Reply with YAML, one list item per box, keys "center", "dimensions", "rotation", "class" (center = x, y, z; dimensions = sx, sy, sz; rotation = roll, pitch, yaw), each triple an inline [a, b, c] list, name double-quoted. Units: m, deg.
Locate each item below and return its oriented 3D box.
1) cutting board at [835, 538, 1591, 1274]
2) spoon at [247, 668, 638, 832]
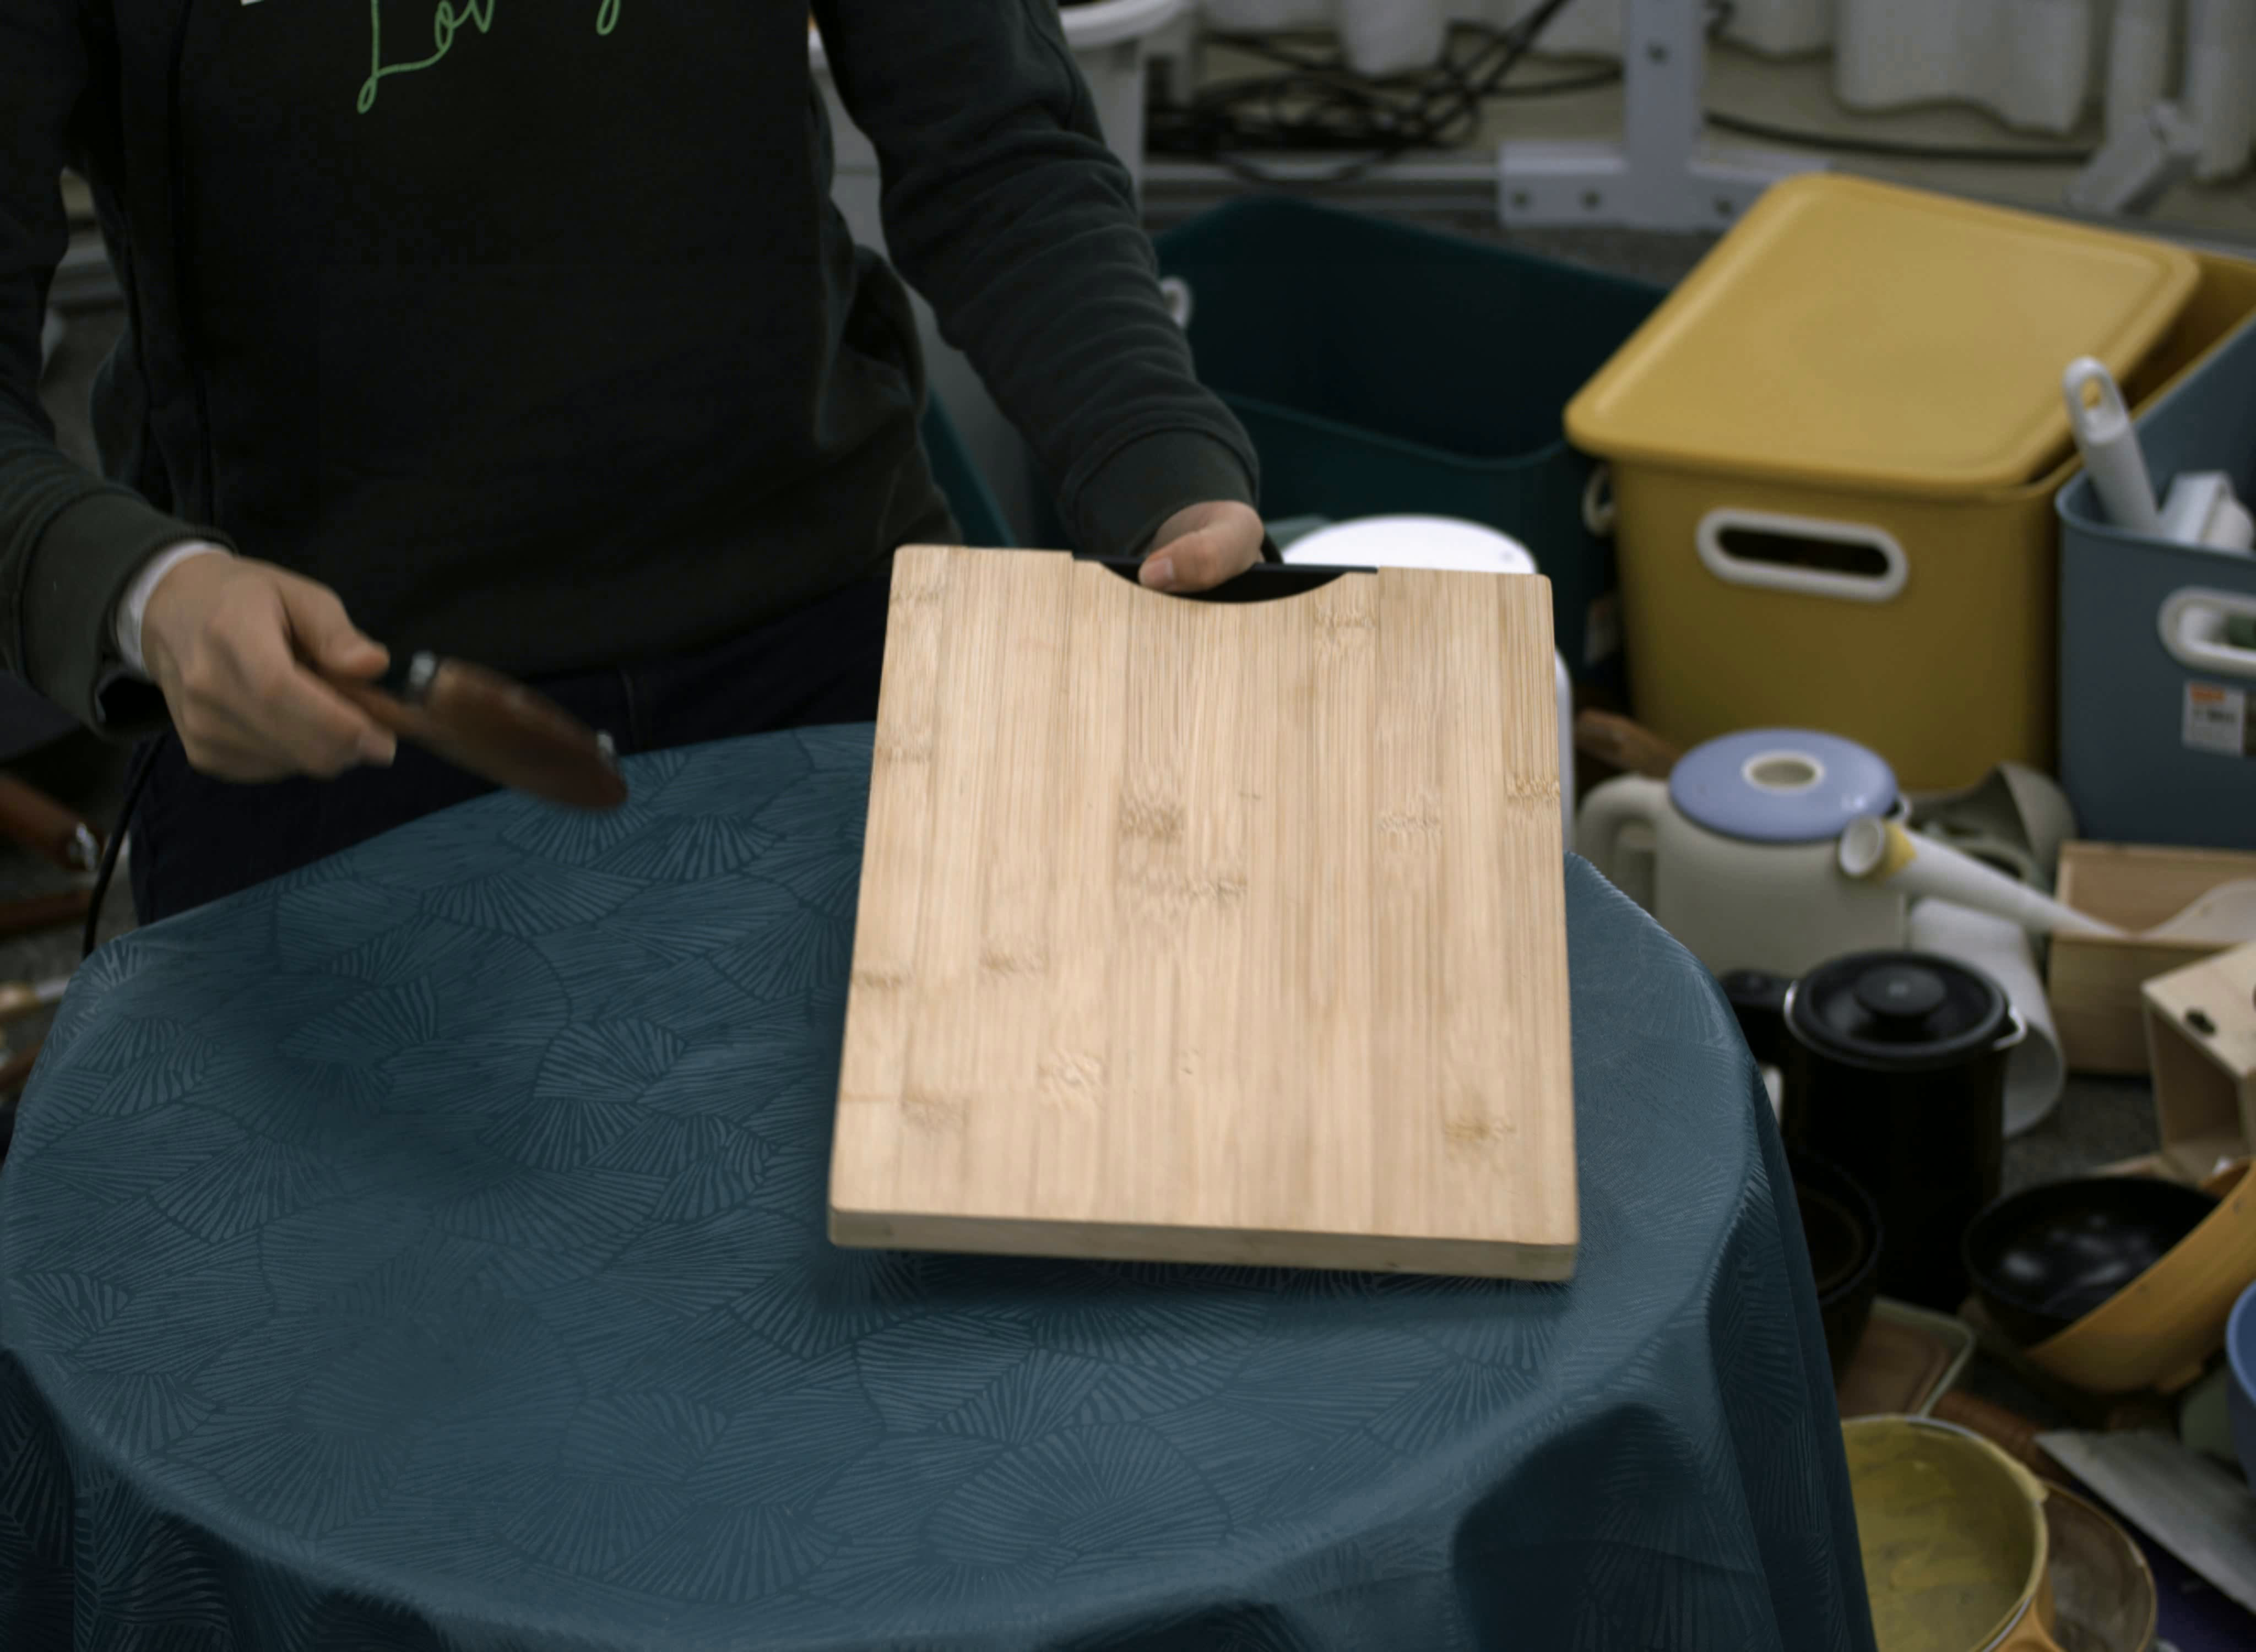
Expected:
- center: [0.032, 0.020, 1.923]
  dimensions: [0.249, 0.023, 0.355]
  rotation: [3, 40, -2]
  class: "cutting board"
- center: [-0.234, -0.027, 1.858]
  dimensions: [0.215, 0.075, 0.017]
  rotation: [15, 72, 52]
  class: "spoon"
